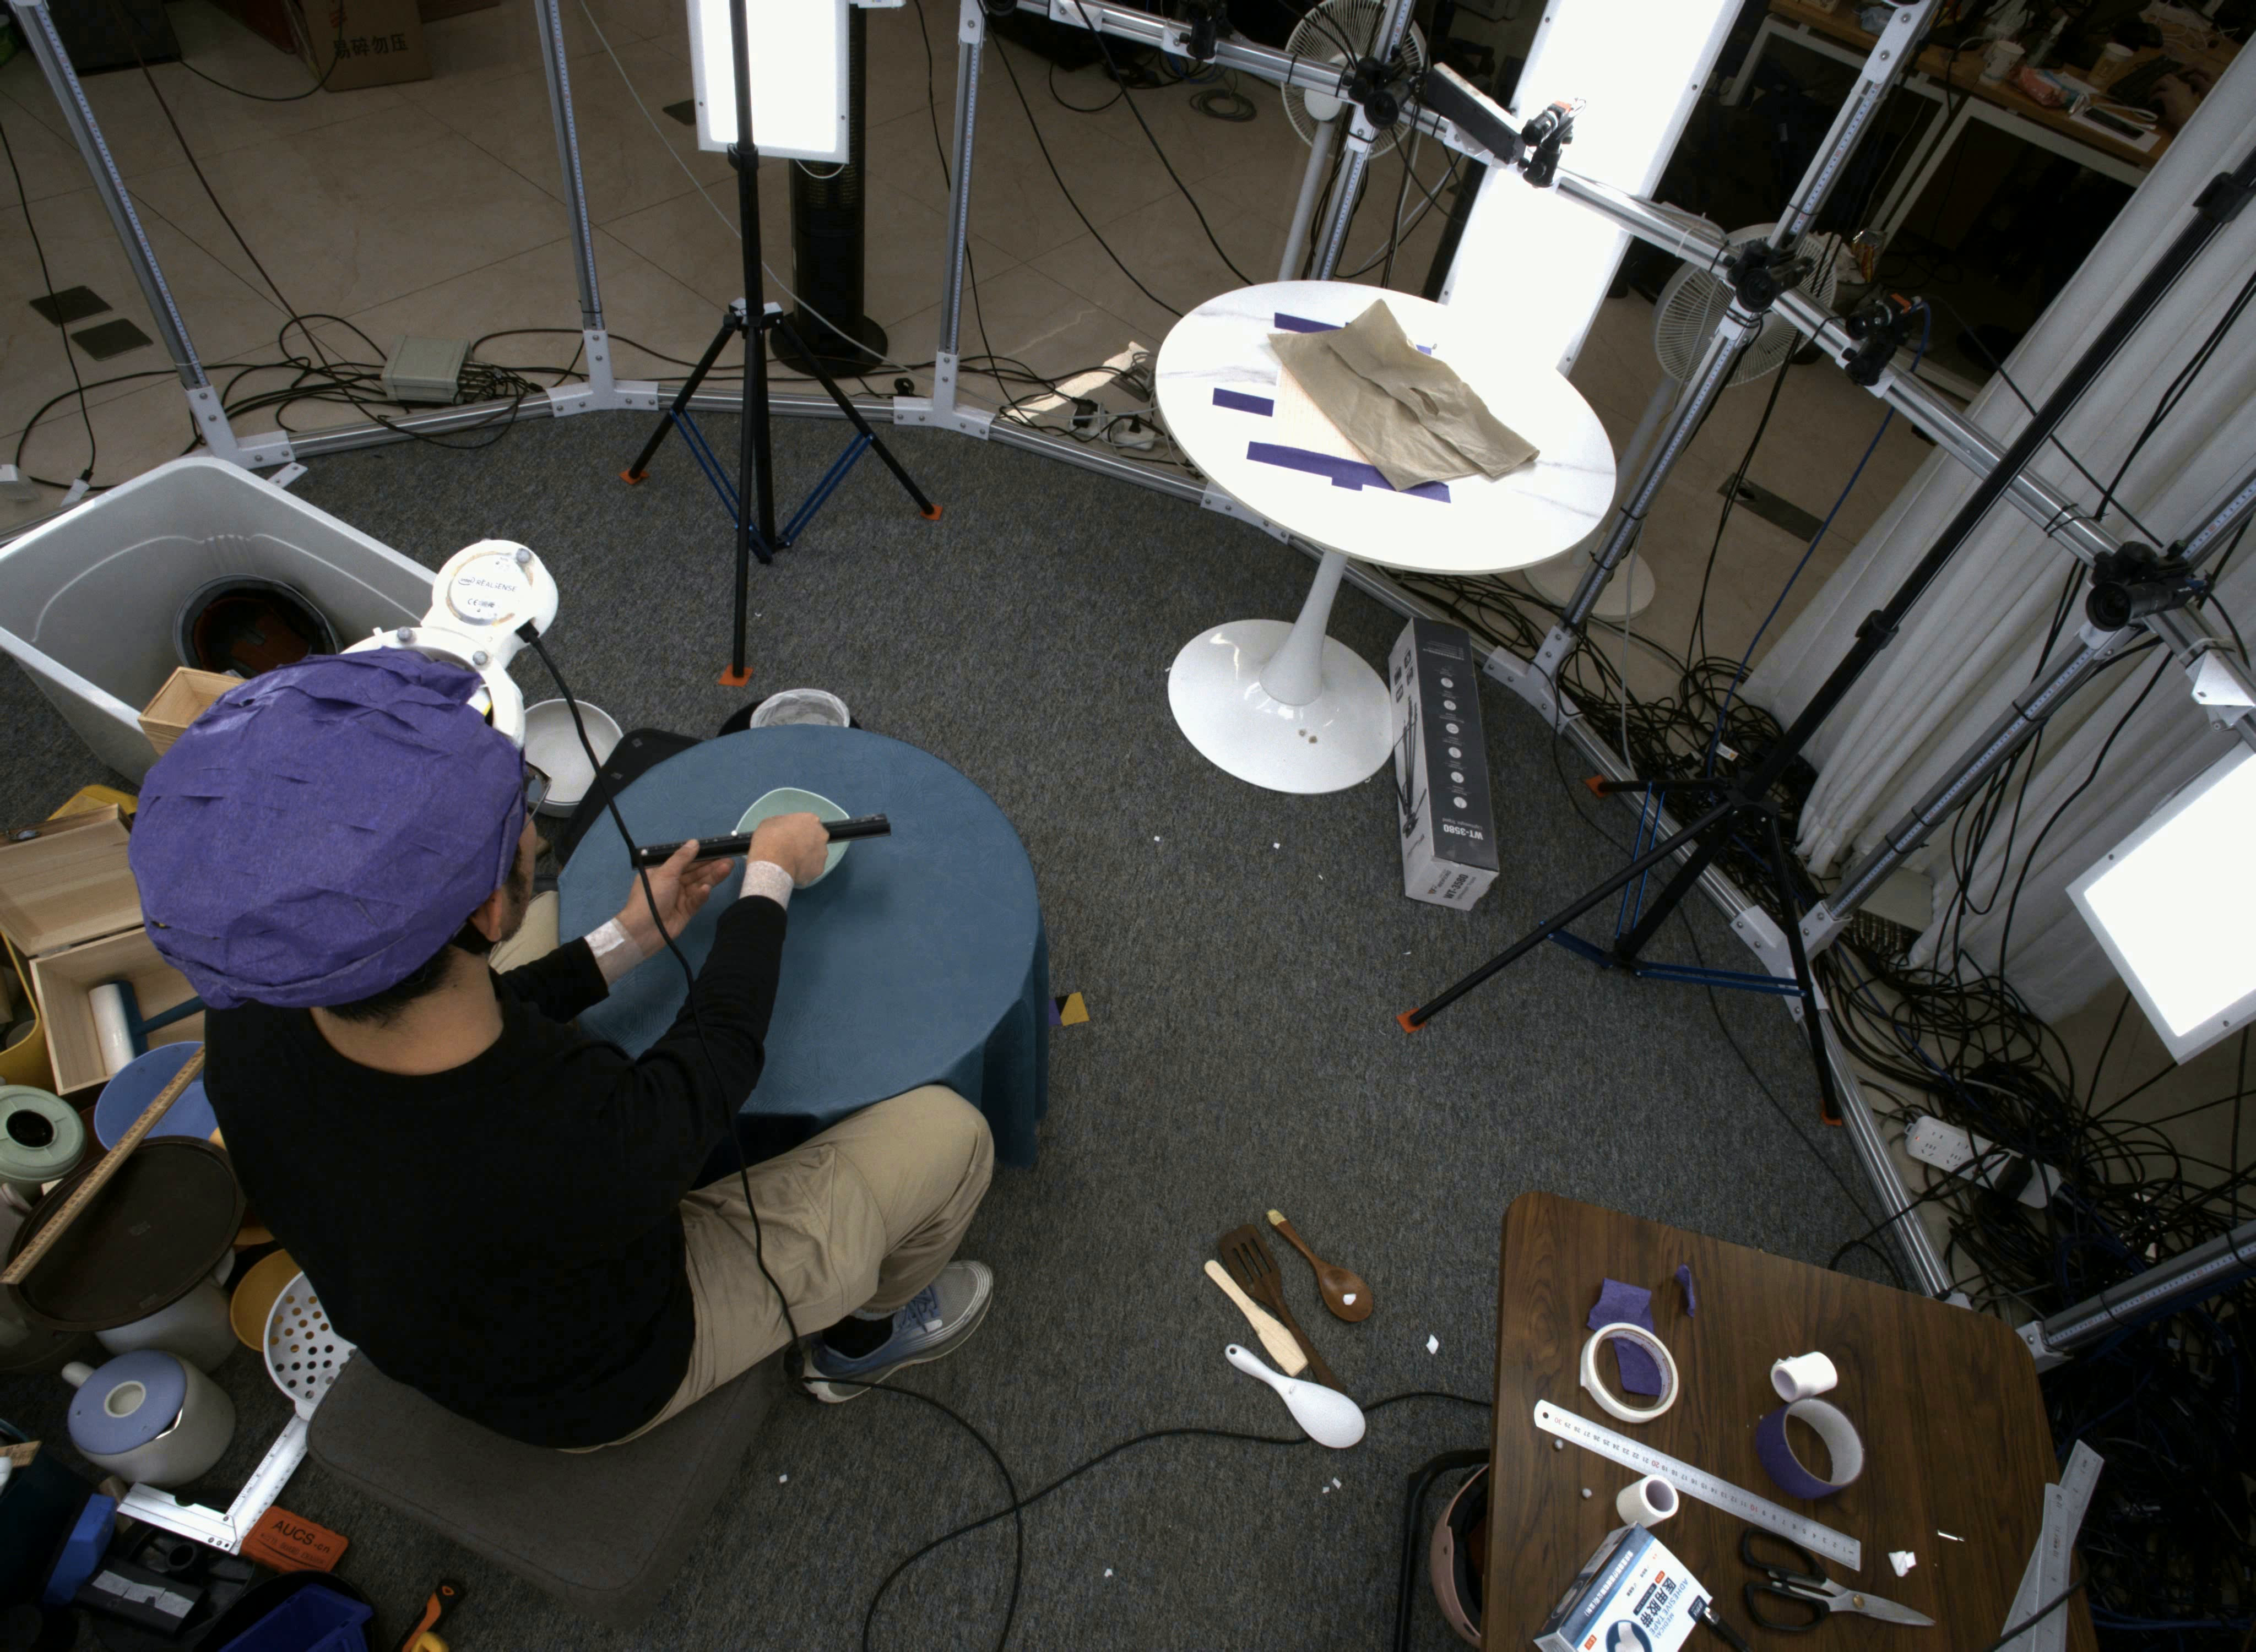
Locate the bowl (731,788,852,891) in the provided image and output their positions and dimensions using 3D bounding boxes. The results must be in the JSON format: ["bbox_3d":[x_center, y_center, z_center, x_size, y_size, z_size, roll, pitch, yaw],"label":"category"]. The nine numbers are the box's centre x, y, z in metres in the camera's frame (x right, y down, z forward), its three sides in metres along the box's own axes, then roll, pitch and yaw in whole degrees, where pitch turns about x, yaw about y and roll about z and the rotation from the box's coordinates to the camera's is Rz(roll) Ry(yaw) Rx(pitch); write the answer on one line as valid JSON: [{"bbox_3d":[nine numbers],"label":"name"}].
[{"bbox_3d":[-0.430,0.026,1.662,0.151,0.060,0.148,9,51,-10],"label":"bowl"}]

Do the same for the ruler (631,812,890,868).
[{"bbox_3d":[-0.447,0.009,1.577,0.314,0.017,0.038,-8,46,-20],"label":"ruler"}]
